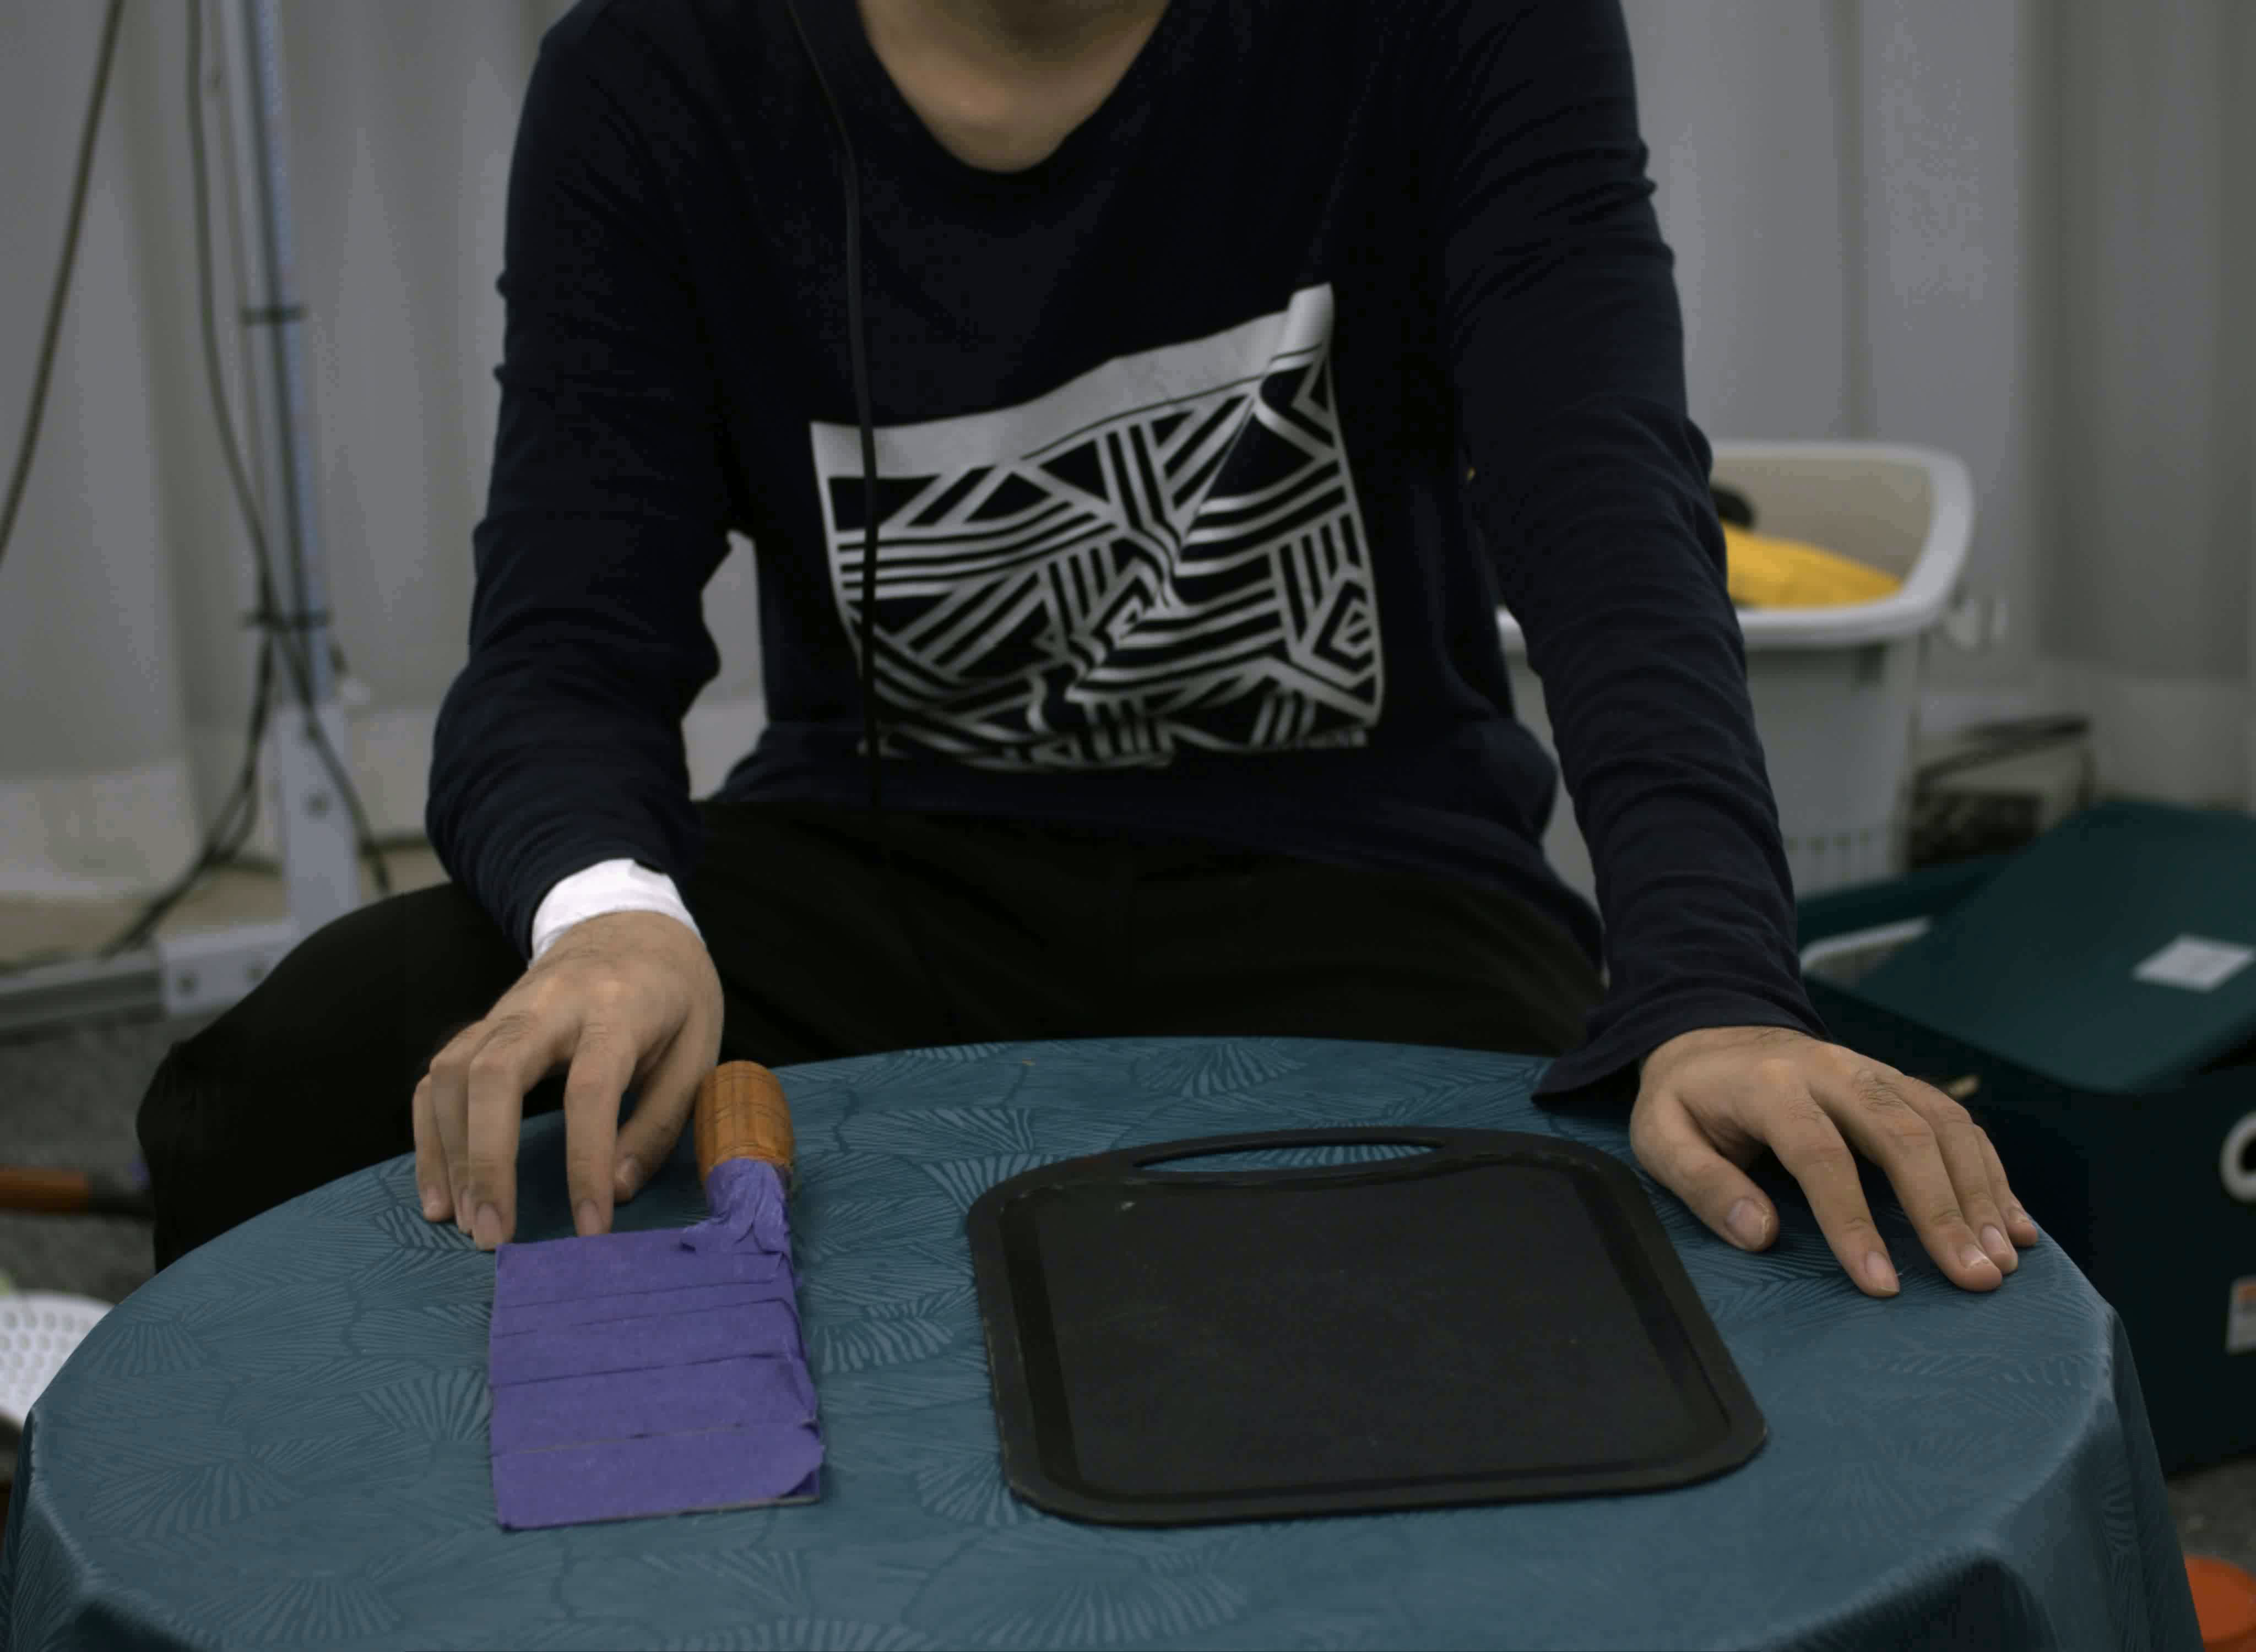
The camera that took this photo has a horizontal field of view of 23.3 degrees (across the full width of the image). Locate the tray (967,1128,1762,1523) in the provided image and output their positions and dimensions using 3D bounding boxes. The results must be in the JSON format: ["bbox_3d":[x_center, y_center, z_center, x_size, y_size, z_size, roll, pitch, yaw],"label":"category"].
[{"bbox_3d":[0.060,0.139,1.602,0.210,0.010,0.328,-3,15,-3],"label":"tray"}]

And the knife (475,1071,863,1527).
[{"bbox_3d":[-0.141,0.135,1.614,0.103,0.032,0.317,-4,15,-6],"label":"knife"}]
